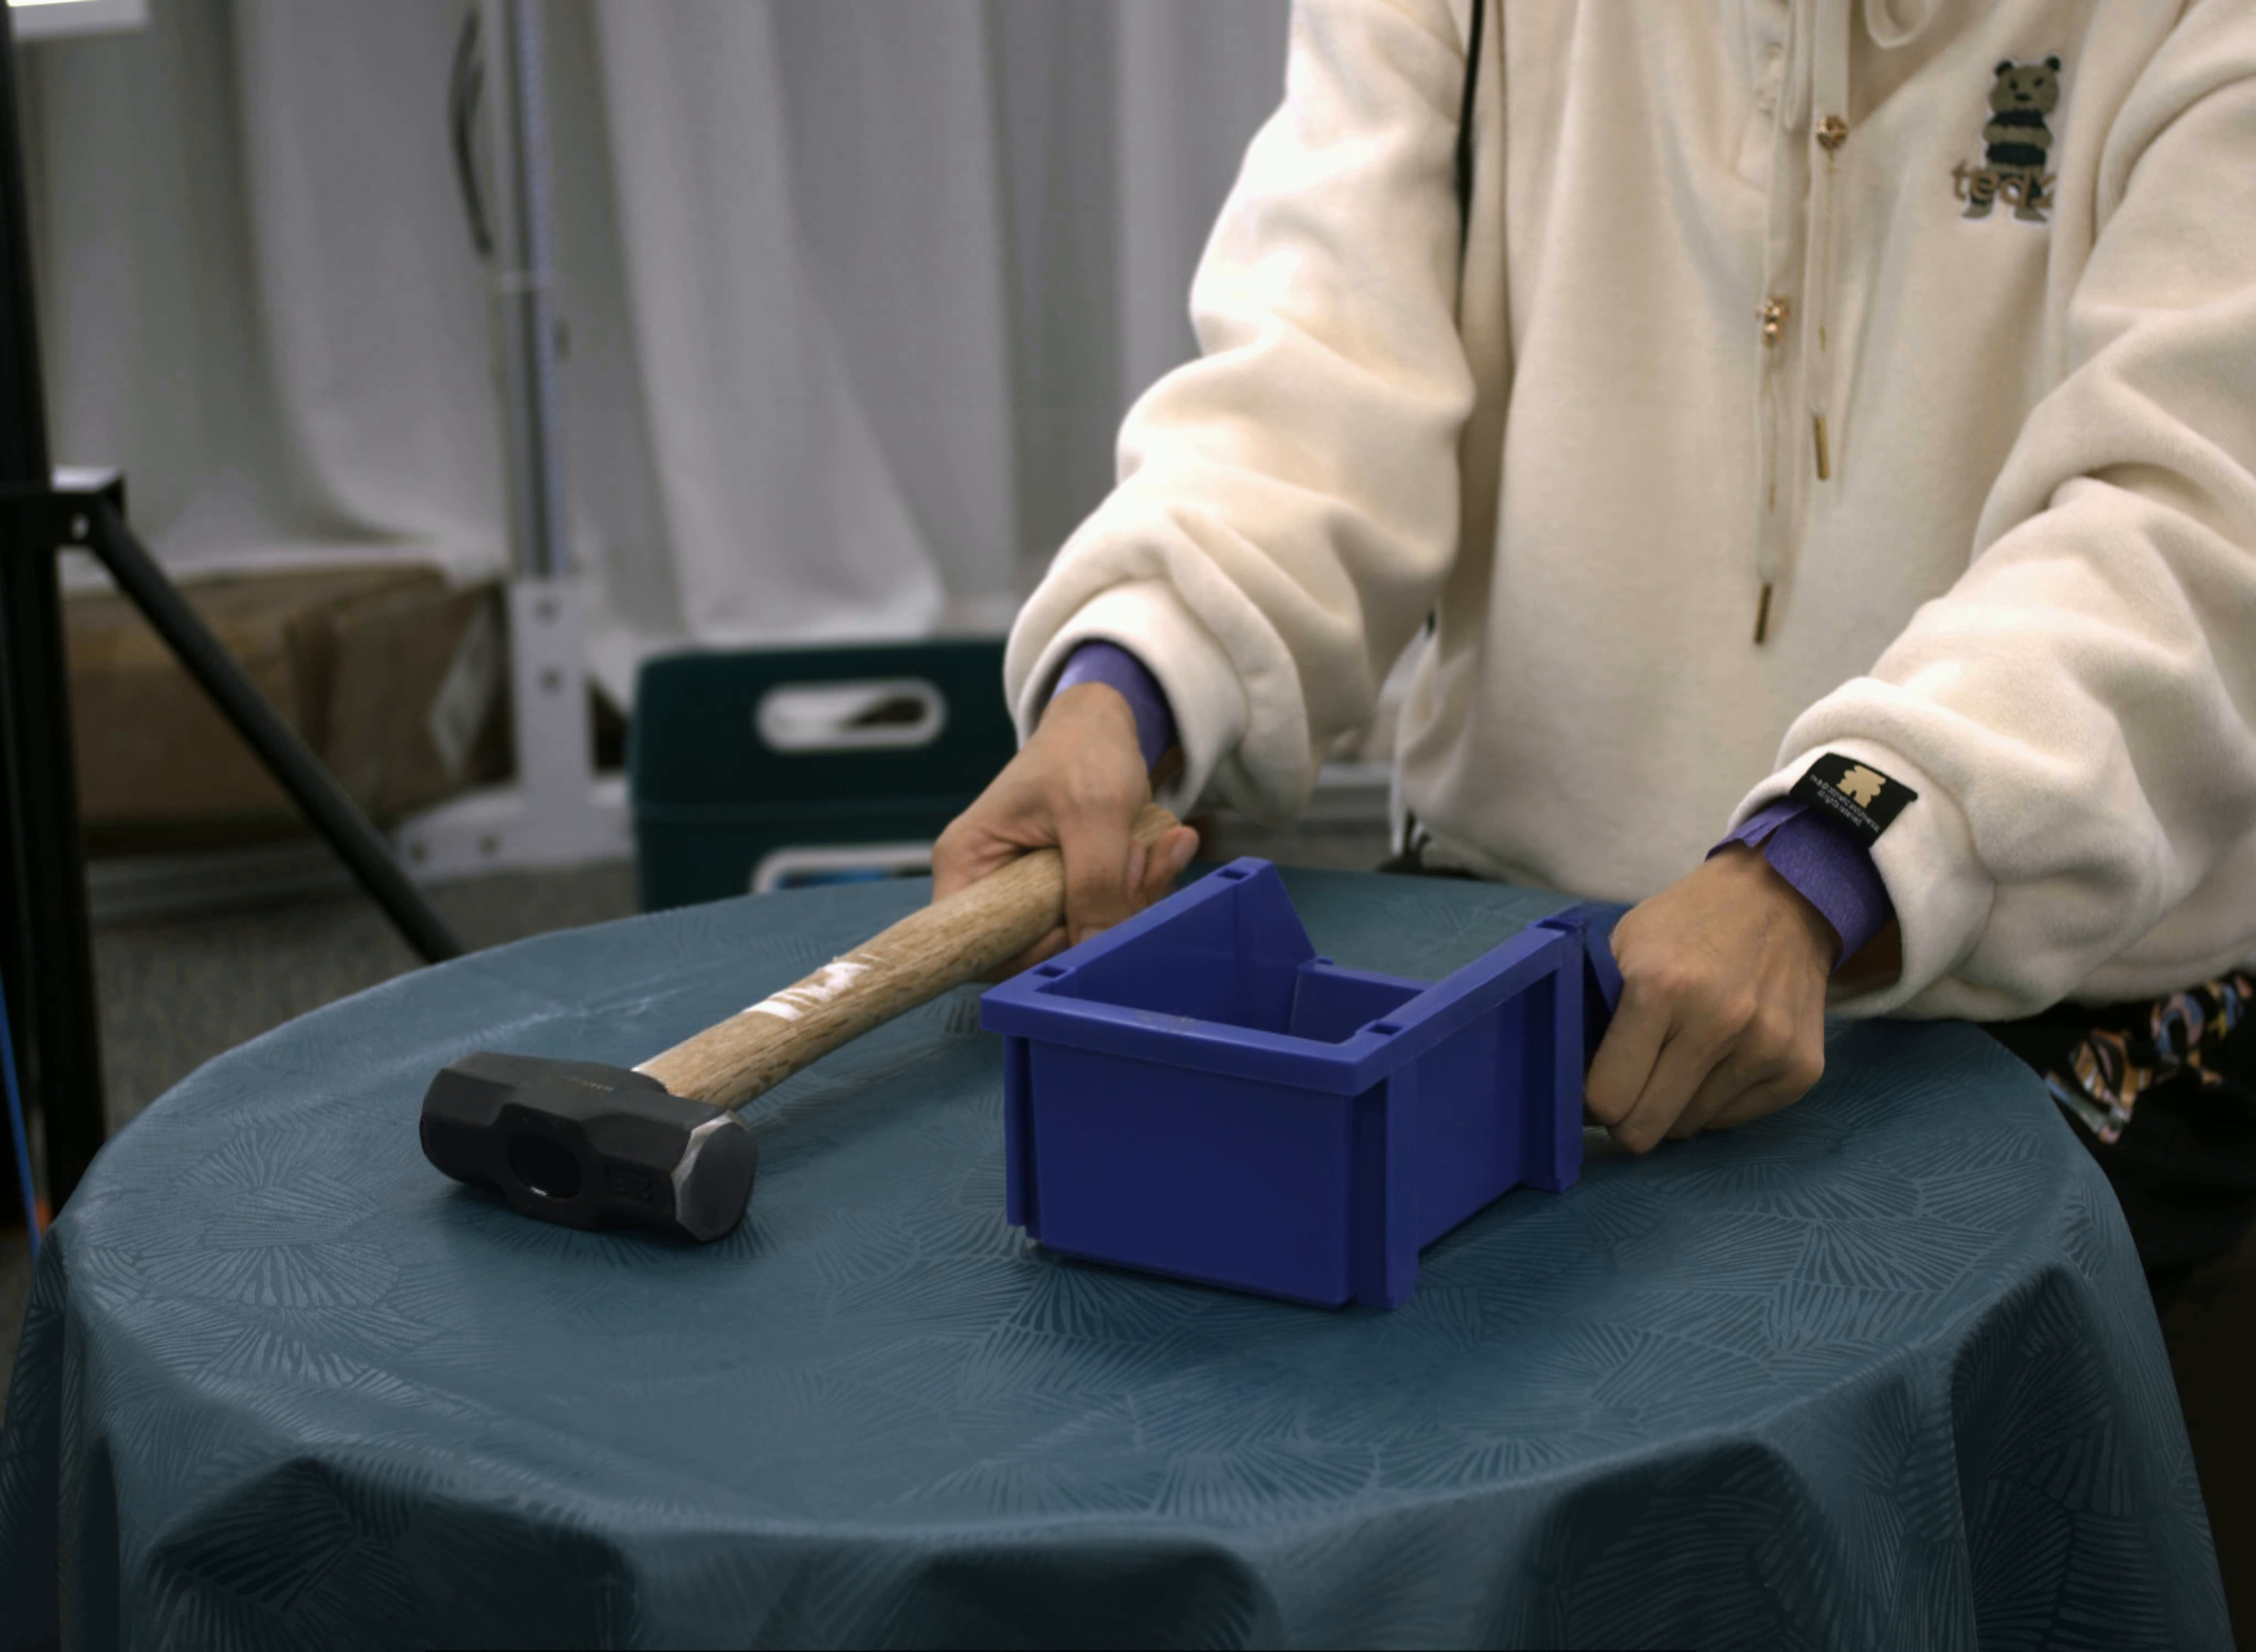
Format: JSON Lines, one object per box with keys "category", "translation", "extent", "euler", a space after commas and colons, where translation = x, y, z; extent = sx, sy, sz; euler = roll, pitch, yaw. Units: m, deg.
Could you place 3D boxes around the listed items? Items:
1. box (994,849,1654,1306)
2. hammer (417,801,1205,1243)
{"category": "box", "translation": [0.058, 0.068, 1.536], "extent": [0.127, 0.082, 0.176], "euler": [8, 21, 31]}
{"category": "hammer", "translation": [-0.079, 0.052, 1.657], "extent": [0.109, 0.038, 0.299], "euler": [10, 25, 37]}
